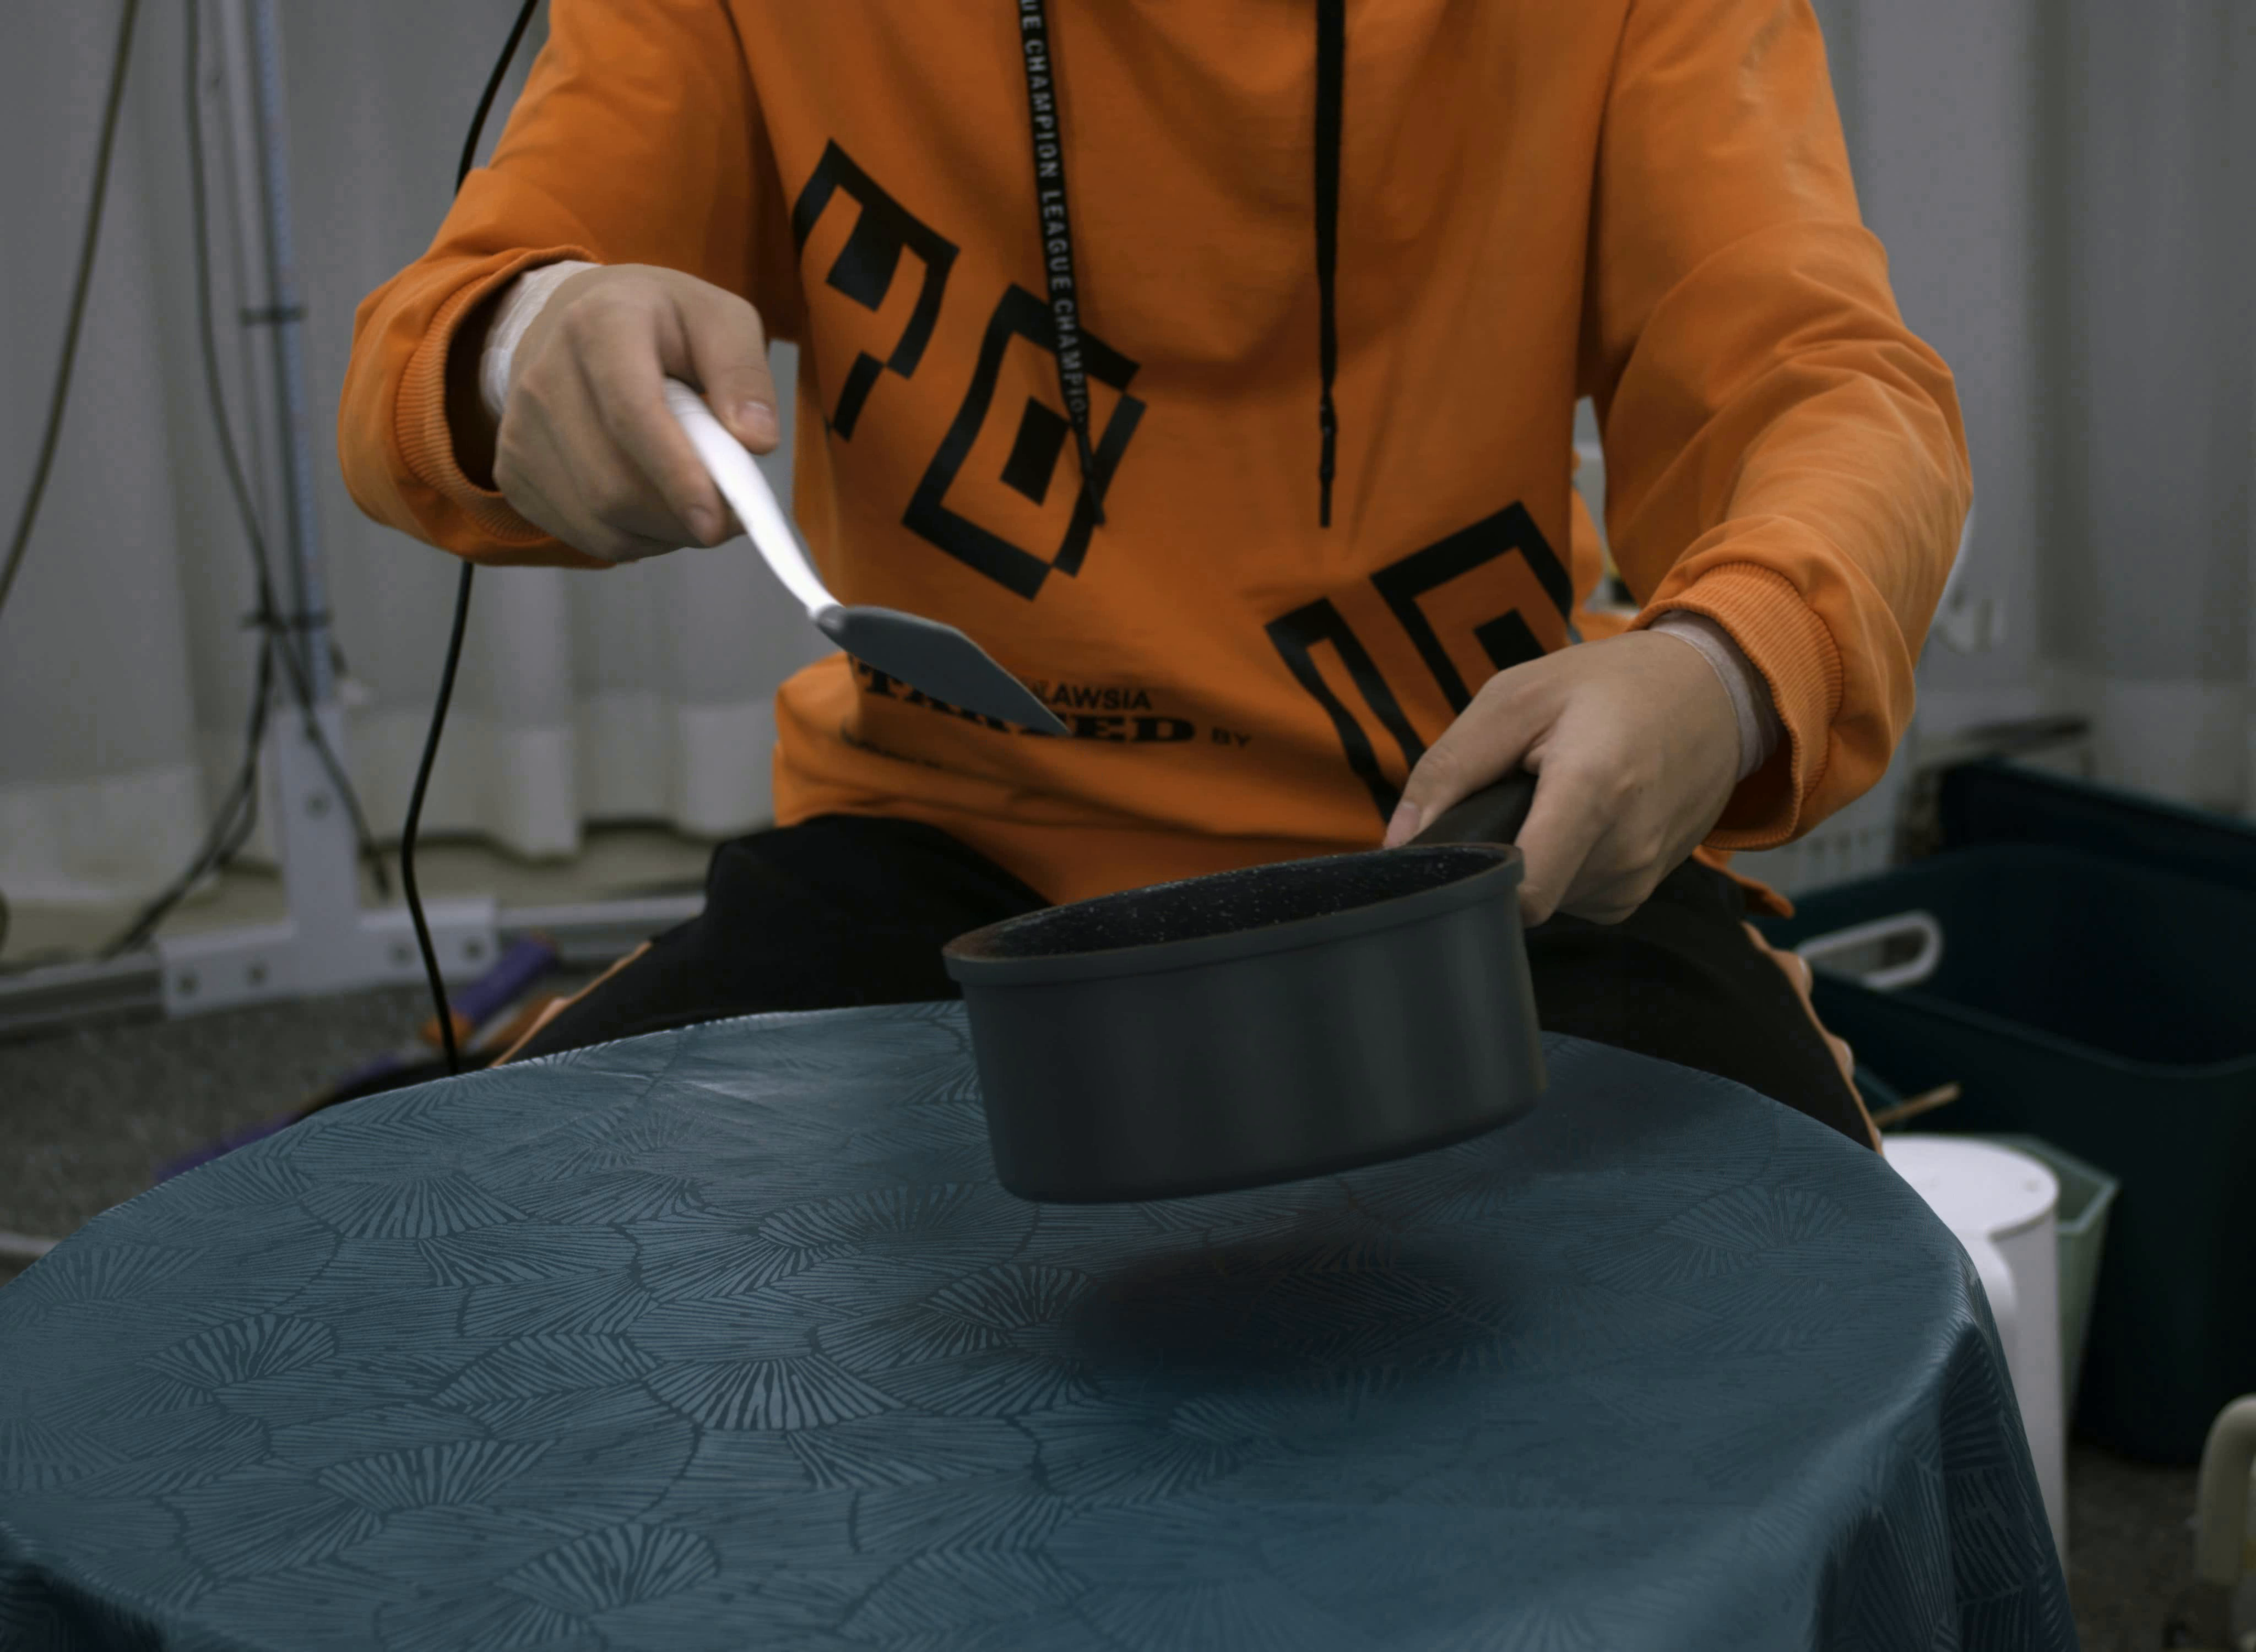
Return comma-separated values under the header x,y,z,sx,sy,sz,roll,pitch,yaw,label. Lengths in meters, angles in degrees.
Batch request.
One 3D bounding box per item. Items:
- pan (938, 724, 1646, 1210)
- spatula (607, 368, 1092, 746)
x,y,z,sx,sy,sz,roll,pitch,yaw,label
0.075,0.040,1.654,0.172,0.086,0.328,-6,8,32,pan
-0.093,-0.081,1.670,0.032,0.058,0.291,-45,34,-4,spatula
